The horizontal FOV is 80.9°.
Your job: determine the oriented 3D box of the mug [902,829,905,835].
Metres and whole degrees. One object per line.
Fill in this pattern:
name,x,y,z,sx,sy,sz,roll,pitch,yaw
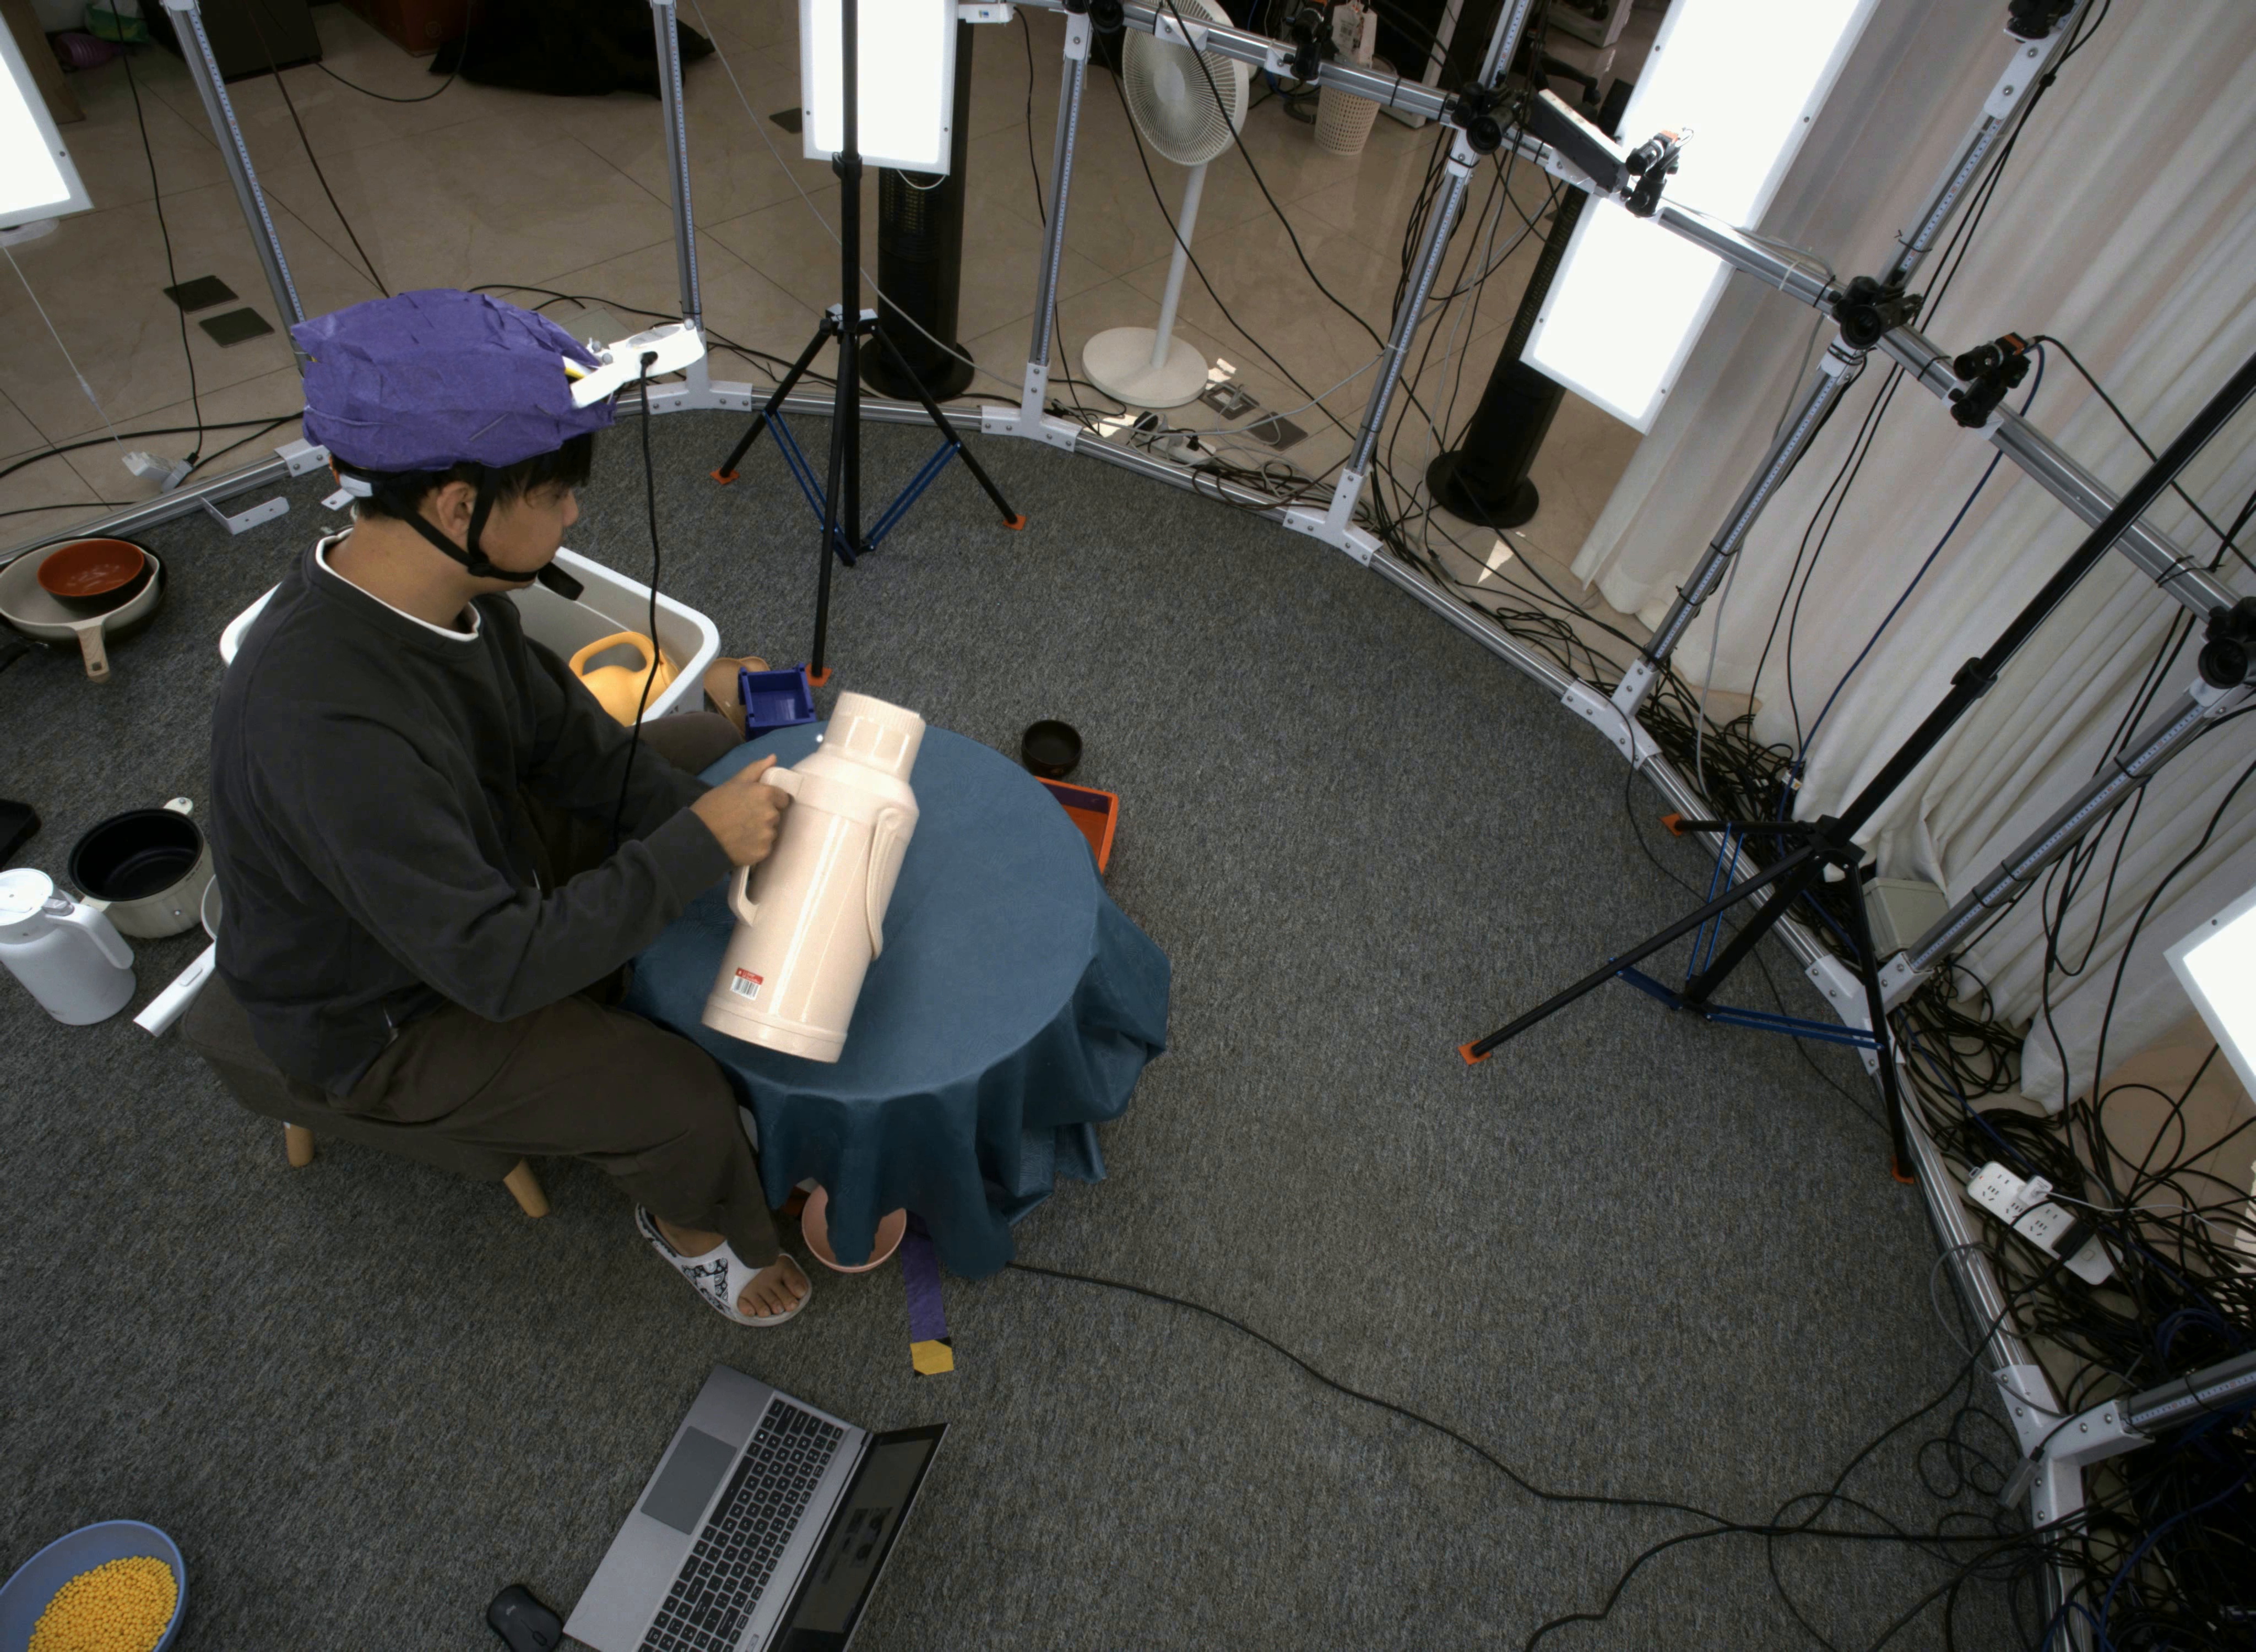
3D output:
mug,-0.342,-0.042,1.714,0.094,0.092,0.120,-13,57,-21

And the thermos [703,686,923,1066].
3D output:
thermos,-0.351,0.048,1.454,0.169,0.214,0.408,10,79,42
